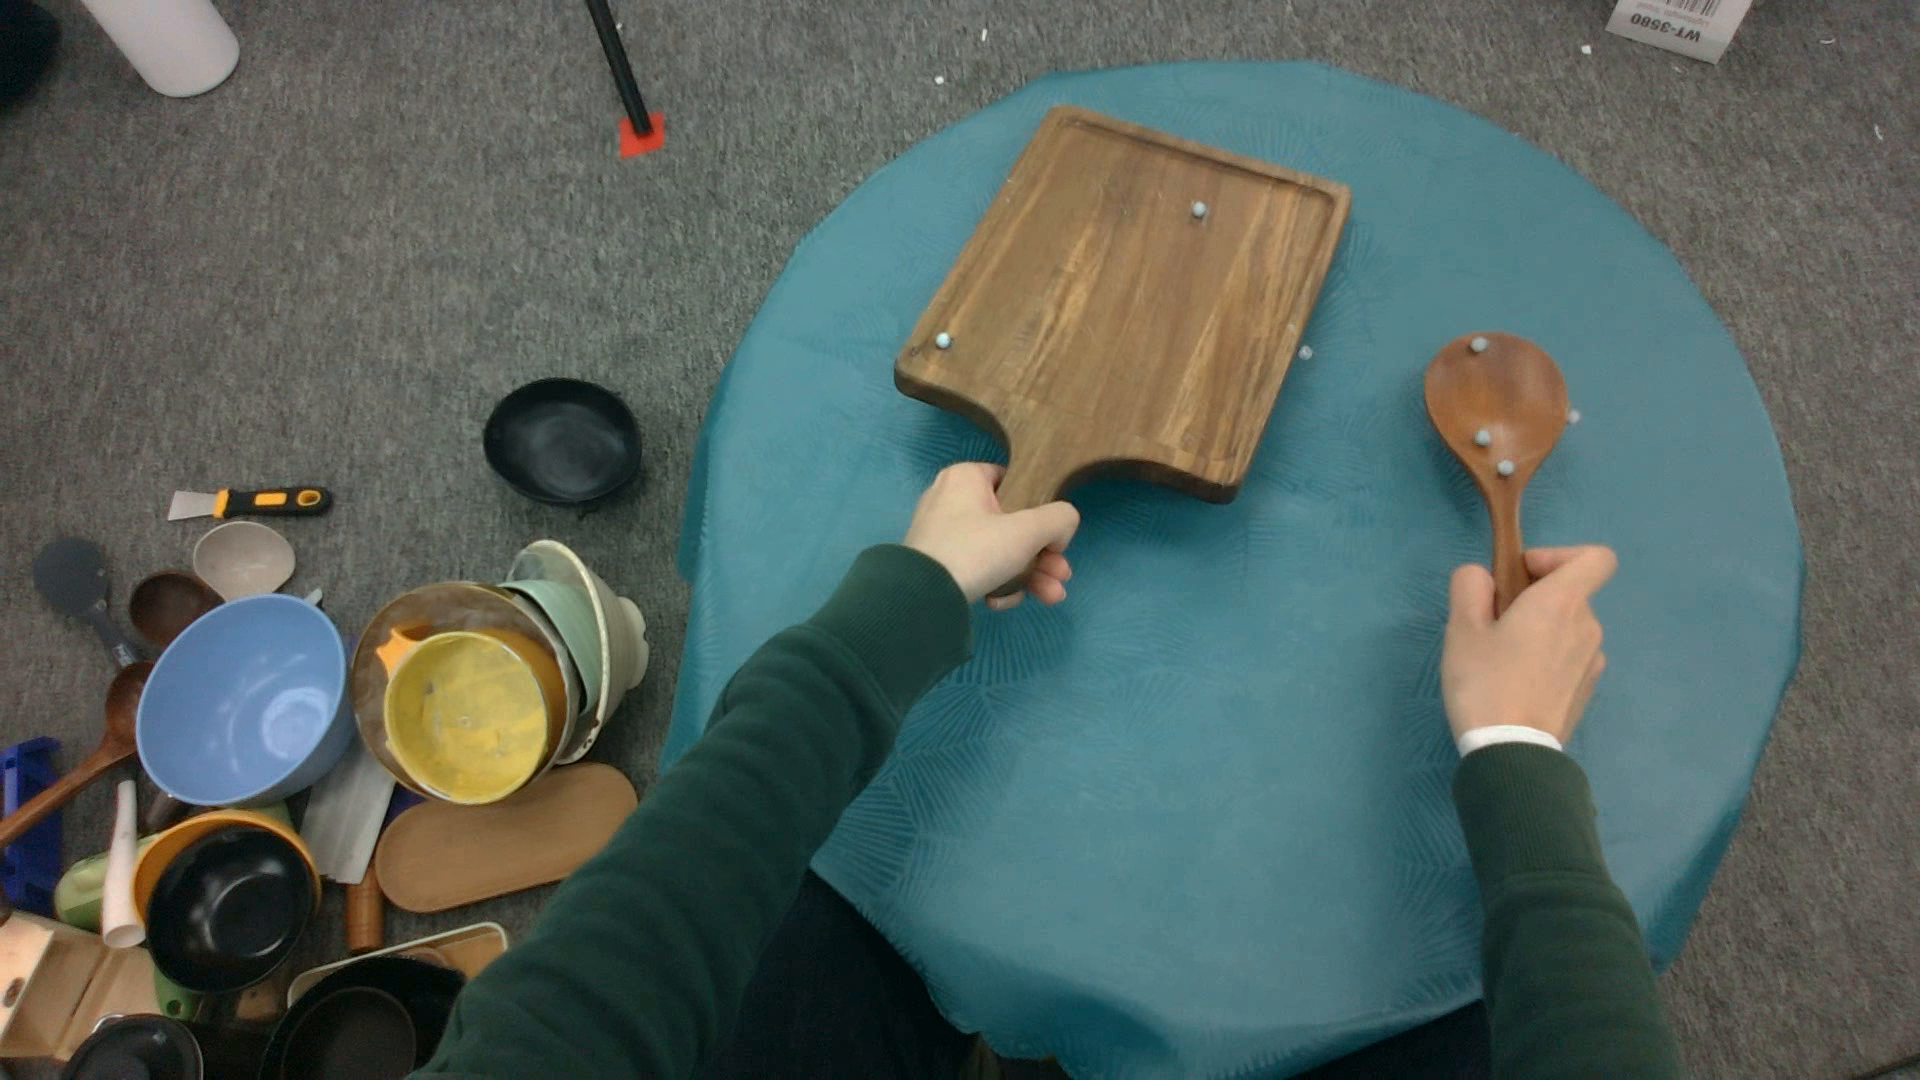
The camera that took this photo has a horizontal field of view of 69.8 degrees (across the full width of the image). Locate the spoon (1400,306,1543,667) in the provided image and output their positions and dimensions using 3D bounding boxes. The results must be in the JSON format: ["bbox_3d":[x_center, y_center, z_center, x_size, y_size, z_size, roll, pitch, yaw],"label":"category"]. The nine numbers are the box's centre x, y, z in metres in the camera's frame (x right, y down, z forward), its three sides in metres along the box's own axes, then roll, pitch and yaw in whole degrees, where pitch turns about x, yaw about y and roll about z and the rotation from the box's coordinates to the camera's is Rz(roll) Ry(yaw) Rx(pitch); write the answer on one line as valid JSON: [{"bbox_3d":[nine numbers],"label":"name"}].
[{"bbox_3d":[0.267,-0.034,0.707,0.075,0.017,0.217,4,59,5],"label":"spoon"}]

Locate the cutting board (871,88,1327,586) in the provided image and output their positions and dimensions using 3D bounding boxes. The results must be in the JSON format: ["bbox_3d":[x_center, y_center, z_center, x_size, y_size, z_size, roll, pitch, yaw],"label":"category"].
[{"bbox_3d":[0.068,-0.117,0.757,0.201,0.023,0.354,21,57,10],"label":"cutting board"}]
